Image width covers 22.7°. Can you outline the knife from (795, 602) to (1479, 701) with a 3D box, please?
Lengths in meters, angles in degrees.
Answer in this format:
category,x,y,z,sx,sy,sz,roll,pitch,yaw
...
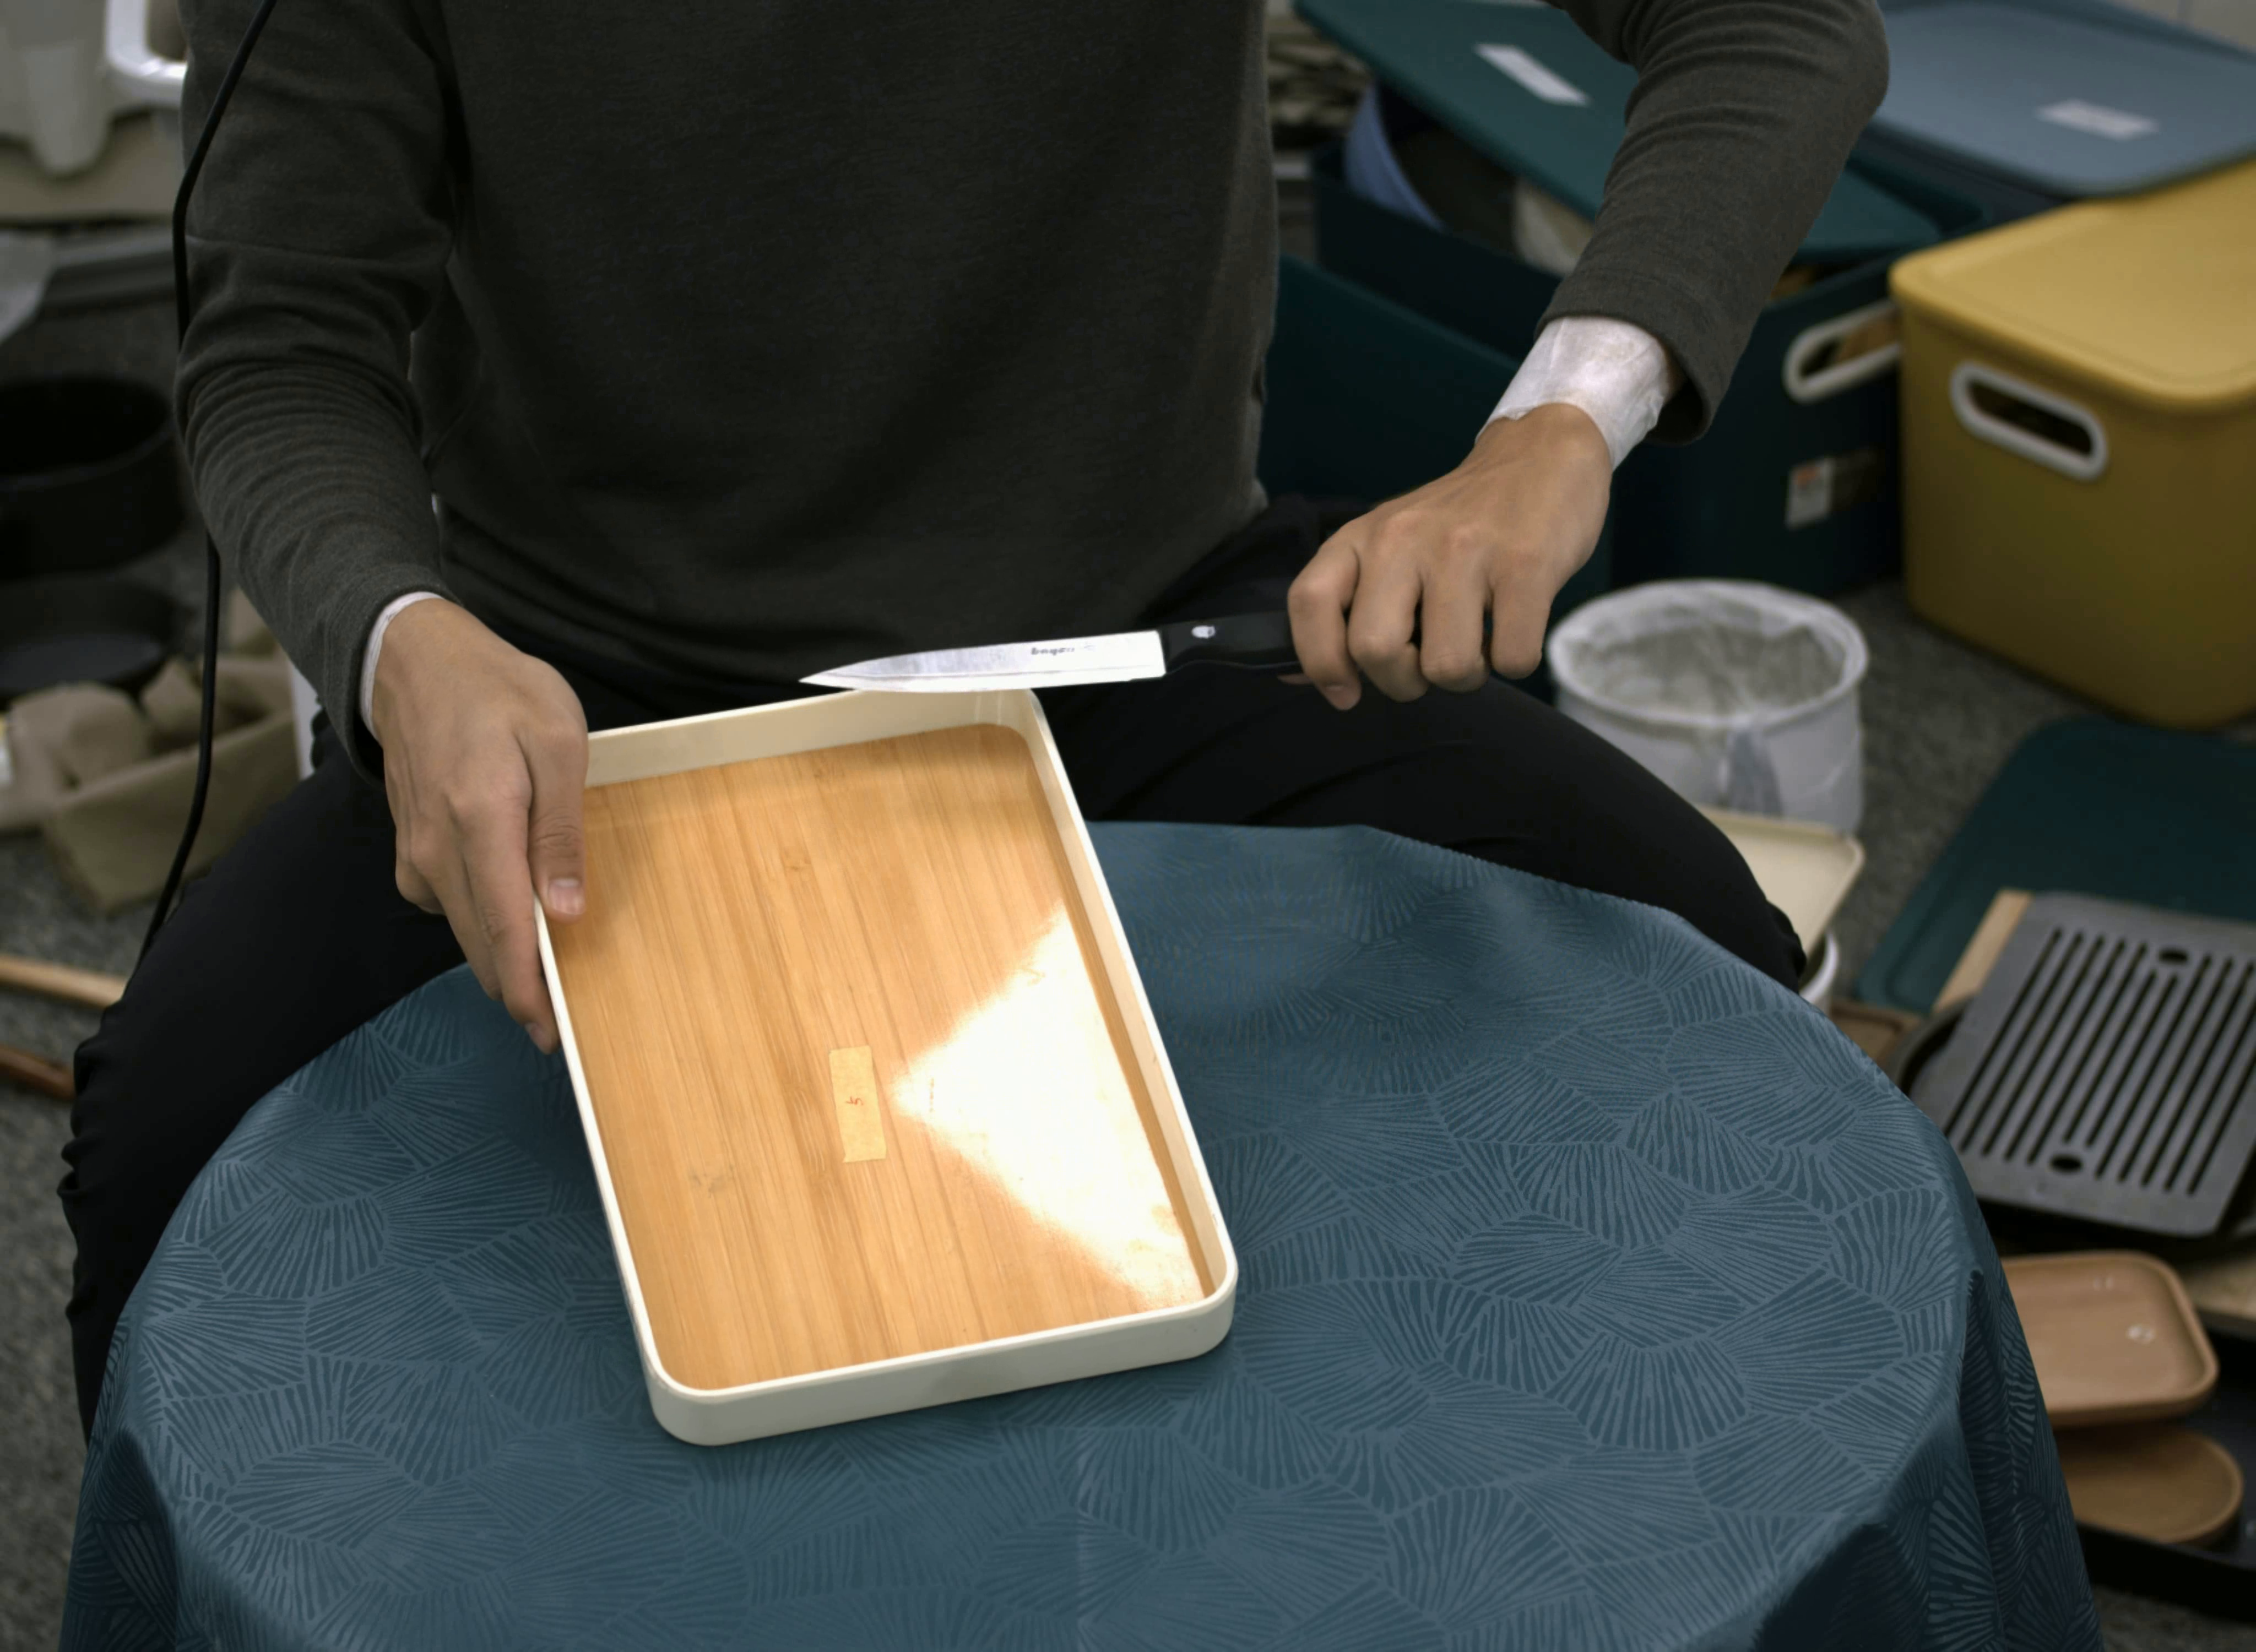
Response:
category,x,y,z,sx,sy,sz,roll,pitch,yaw
knife,0.003,-0.059,1.943,0.237,0.016,0.025,-5,45,-4

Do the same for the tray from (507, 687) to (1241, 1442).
category,x,y,z,sx,sy,sz,roll,pitch,yaw
tray,-0.088,0.070,1.848,0.191,0.027,0.305,-8,45,-12
